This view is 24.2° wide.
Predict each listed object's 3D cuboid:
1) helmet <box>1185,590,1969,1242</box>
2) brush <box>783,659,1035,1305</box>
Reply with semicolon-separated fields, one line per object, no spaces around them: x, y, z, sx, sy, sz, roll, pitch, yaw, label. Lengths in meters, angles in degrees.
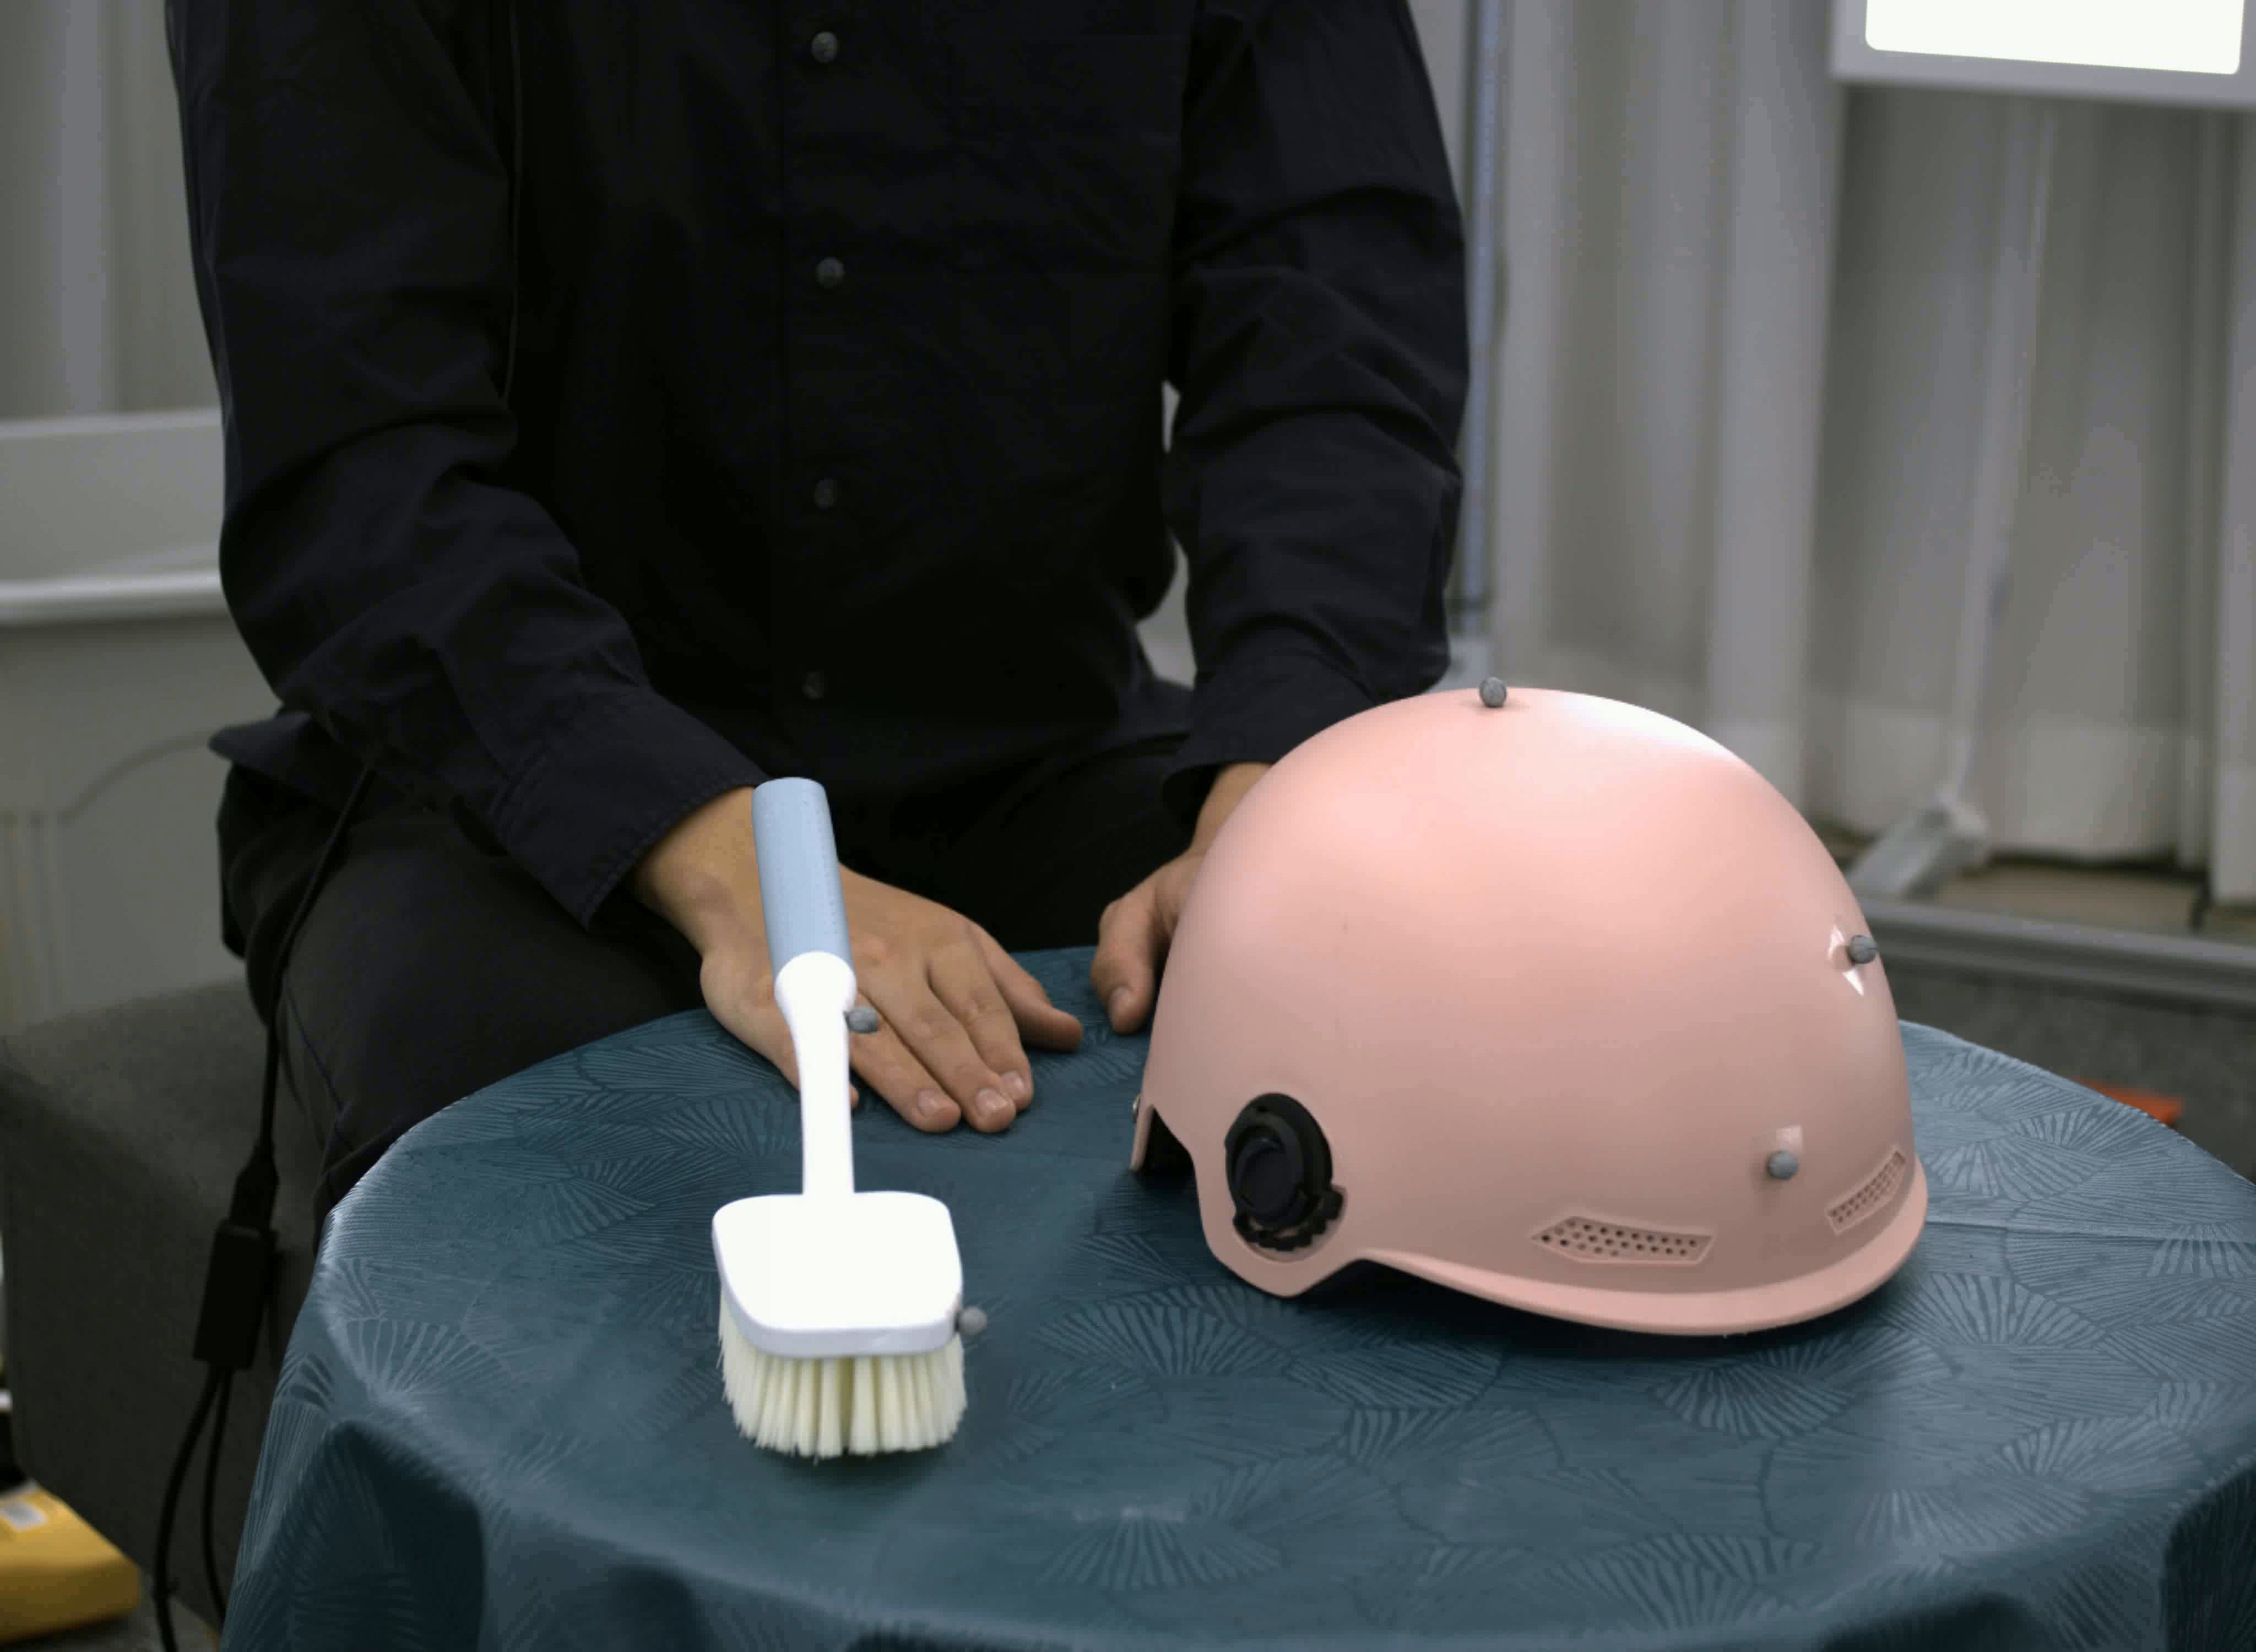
0.143;0.014;1.619;0.235;0.160;0.262;-8;22;-30;helmet
-0.067;0.058;1.576;0.084;0.084;0.322;33;19;-22;brush
